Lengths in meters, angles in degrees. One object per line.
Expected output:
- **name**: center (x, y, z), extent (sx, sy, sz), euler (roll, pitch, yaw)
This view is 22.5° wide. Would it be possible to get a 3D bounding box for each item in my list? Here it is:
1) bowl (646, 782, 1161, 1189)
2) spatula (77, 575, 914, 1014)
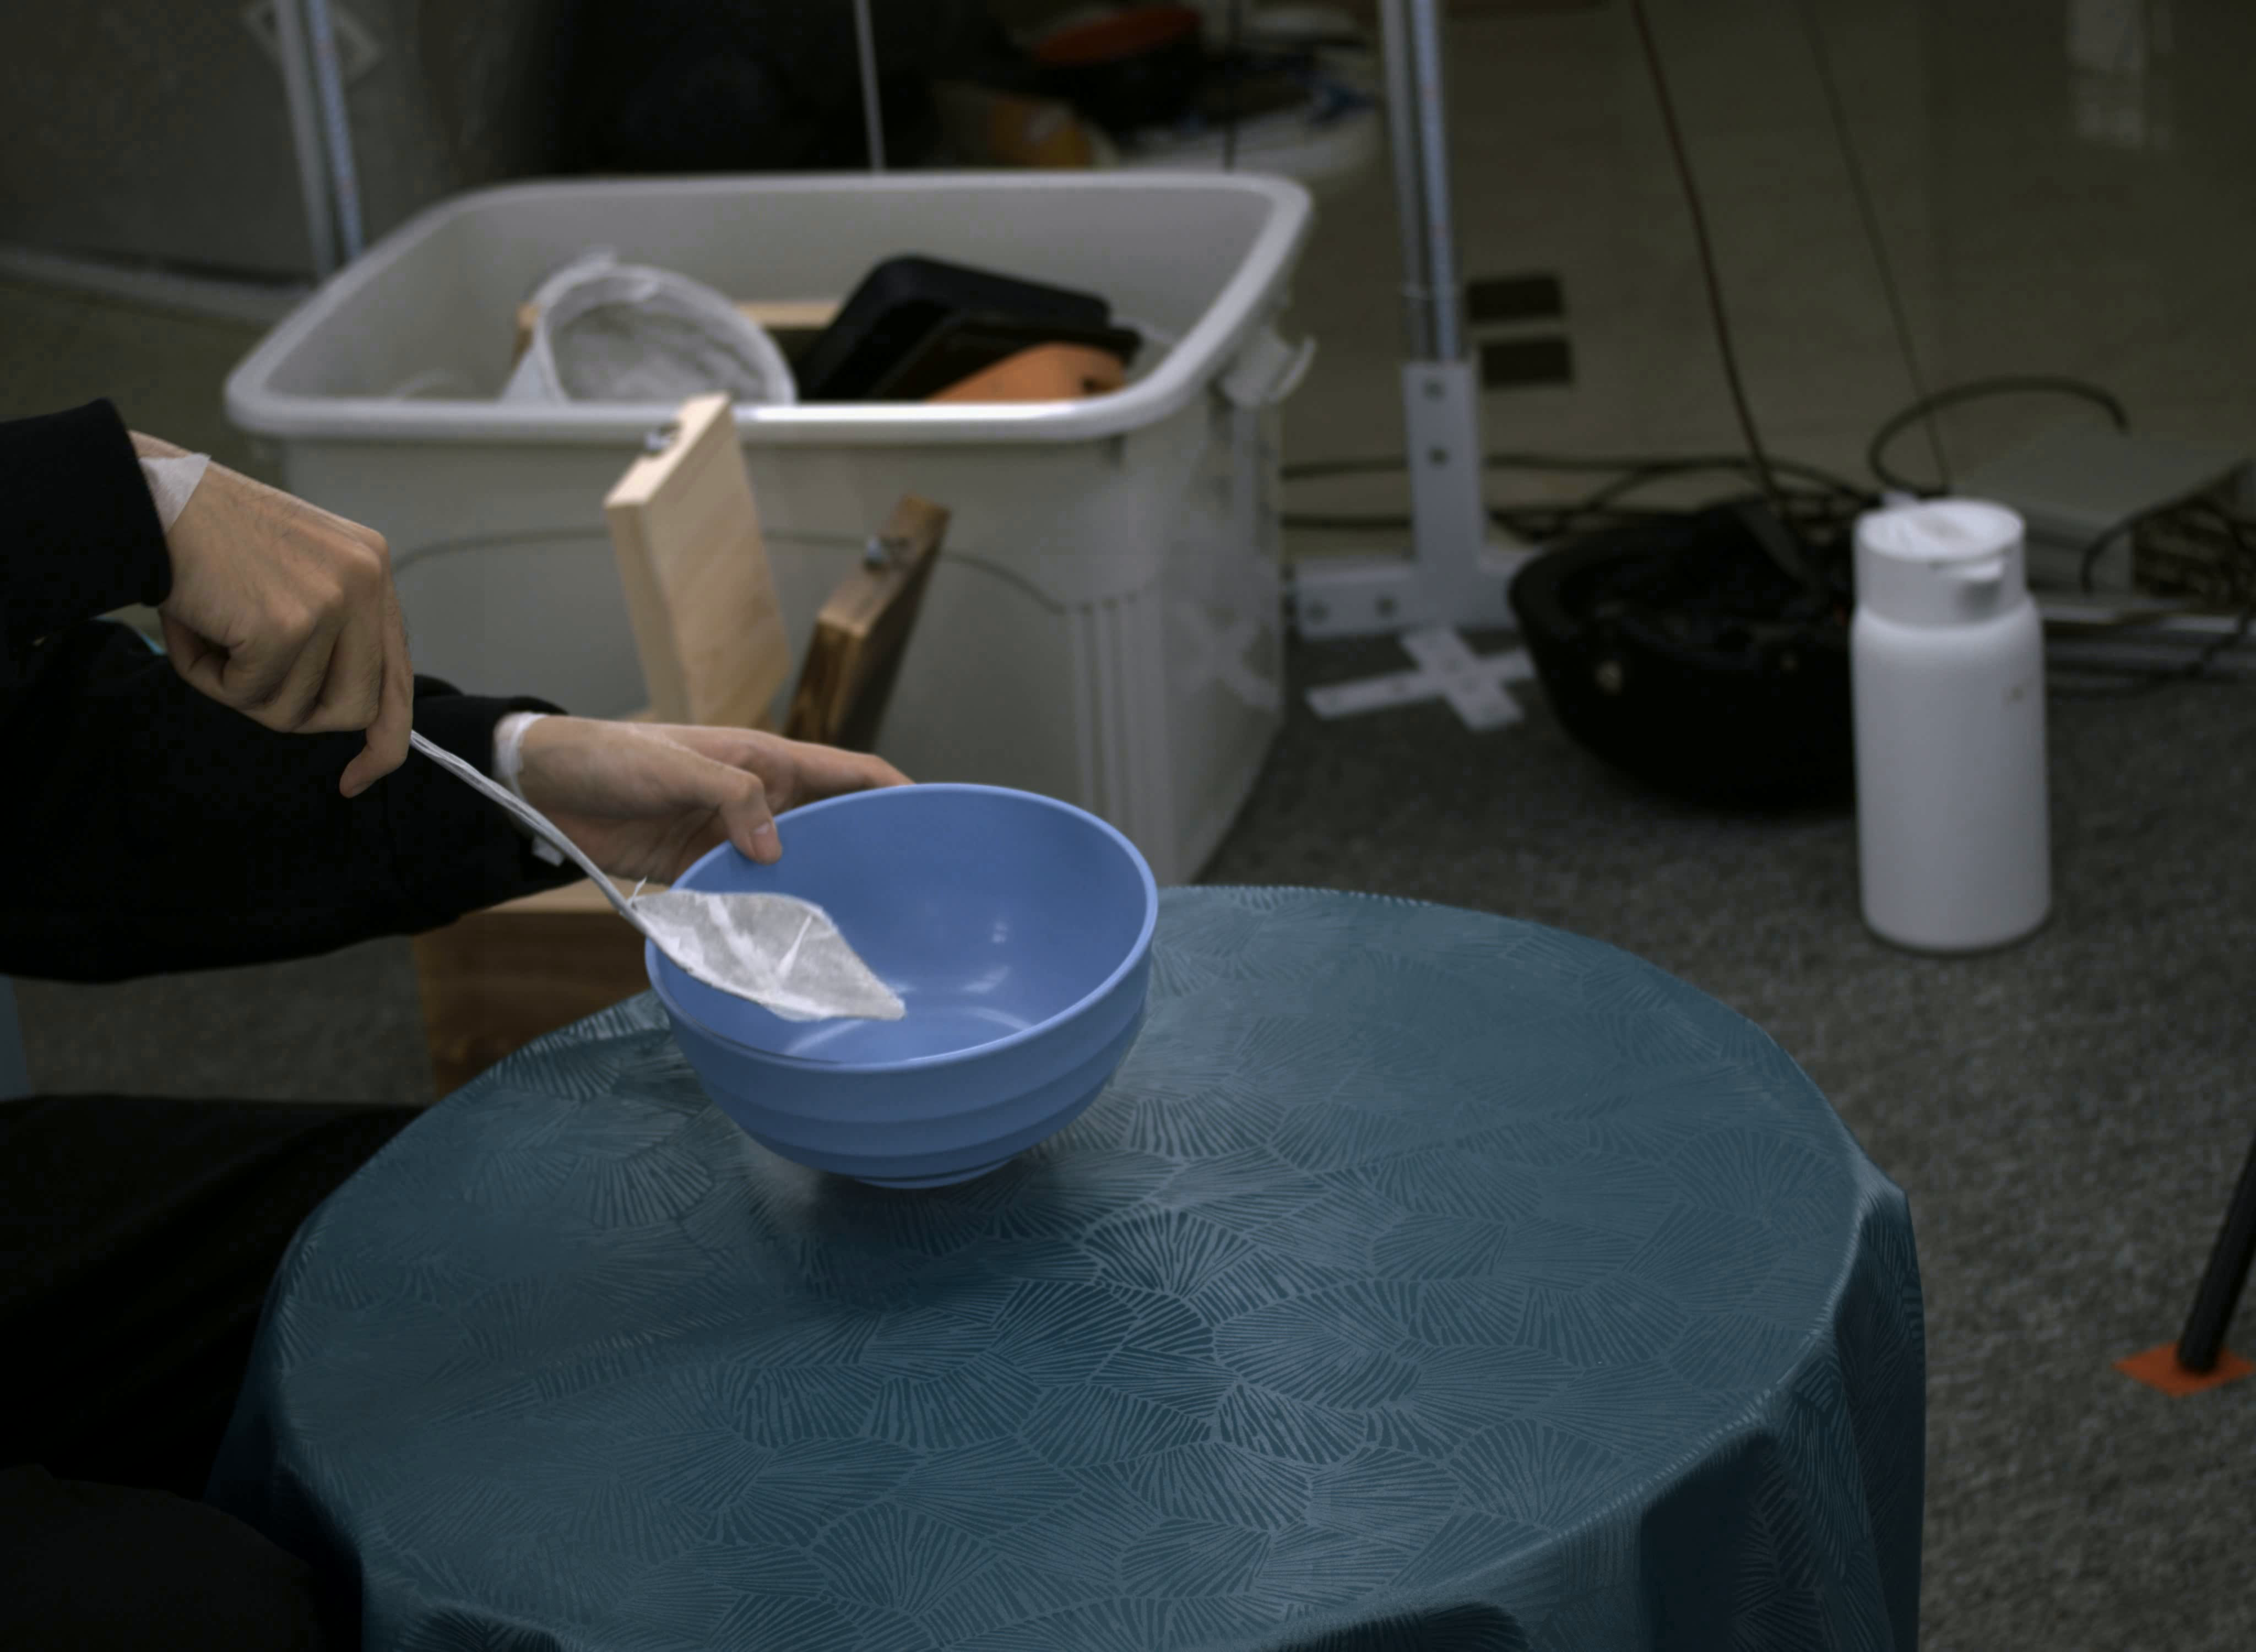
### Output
- **bowl**: center (-0.082, 0.075, 2.171), extent (0.196, 0.097, 0.193), euler (-4, 33, 2)
- **spatula**: center (-0.219, -0.015, 2.007), extent (0.045, 0.369, 0.097), euler (-49, 40, 7)
